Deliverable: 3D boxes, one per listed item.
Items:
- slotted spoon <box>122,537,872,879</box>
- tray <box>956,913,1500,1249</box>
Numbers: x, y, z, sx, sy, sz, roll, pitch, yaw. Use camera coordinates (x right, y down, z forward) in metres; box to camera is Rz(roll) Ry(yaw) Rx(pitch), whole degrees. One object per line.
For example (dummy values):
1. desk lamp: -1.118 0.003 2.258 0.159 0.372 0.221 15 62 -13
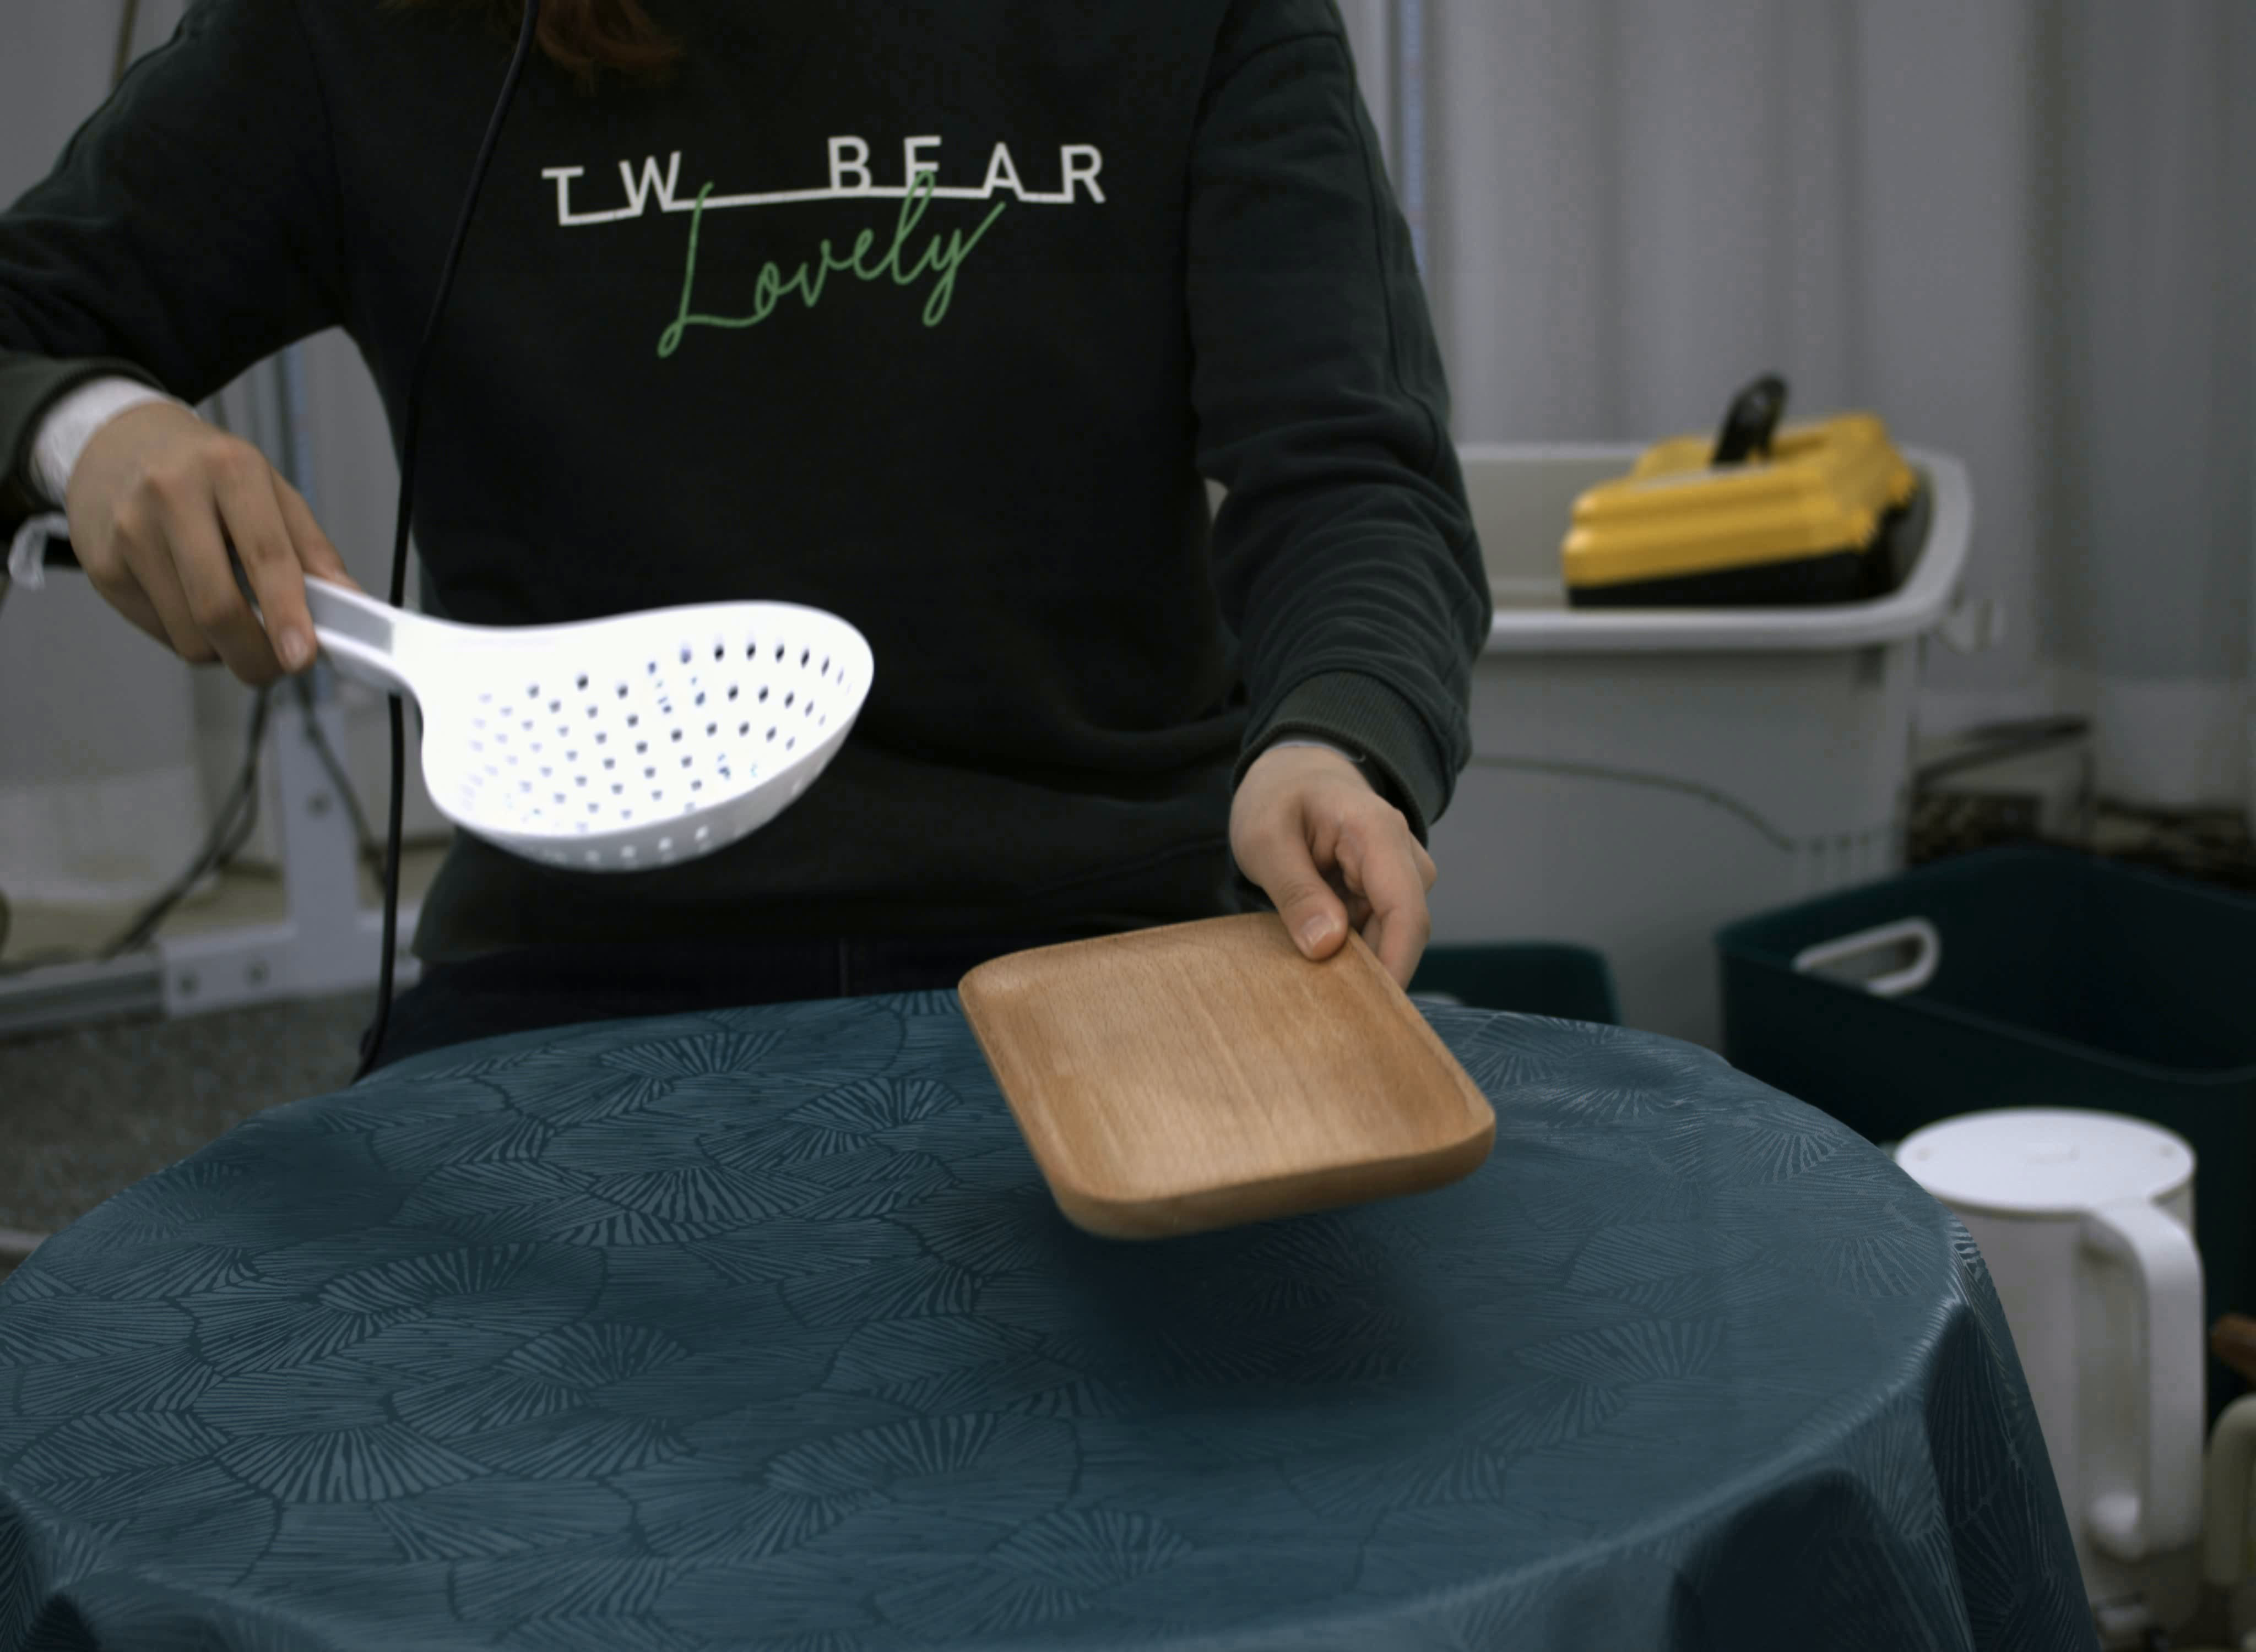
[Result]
1. slotted spoon: -0.211 -0.047 1.693 0.136 0.045 0.352 -32 36 -31
2. tray: 0.026 0.073 1.621 0.130 0.023 0.252 -7 15 -7
